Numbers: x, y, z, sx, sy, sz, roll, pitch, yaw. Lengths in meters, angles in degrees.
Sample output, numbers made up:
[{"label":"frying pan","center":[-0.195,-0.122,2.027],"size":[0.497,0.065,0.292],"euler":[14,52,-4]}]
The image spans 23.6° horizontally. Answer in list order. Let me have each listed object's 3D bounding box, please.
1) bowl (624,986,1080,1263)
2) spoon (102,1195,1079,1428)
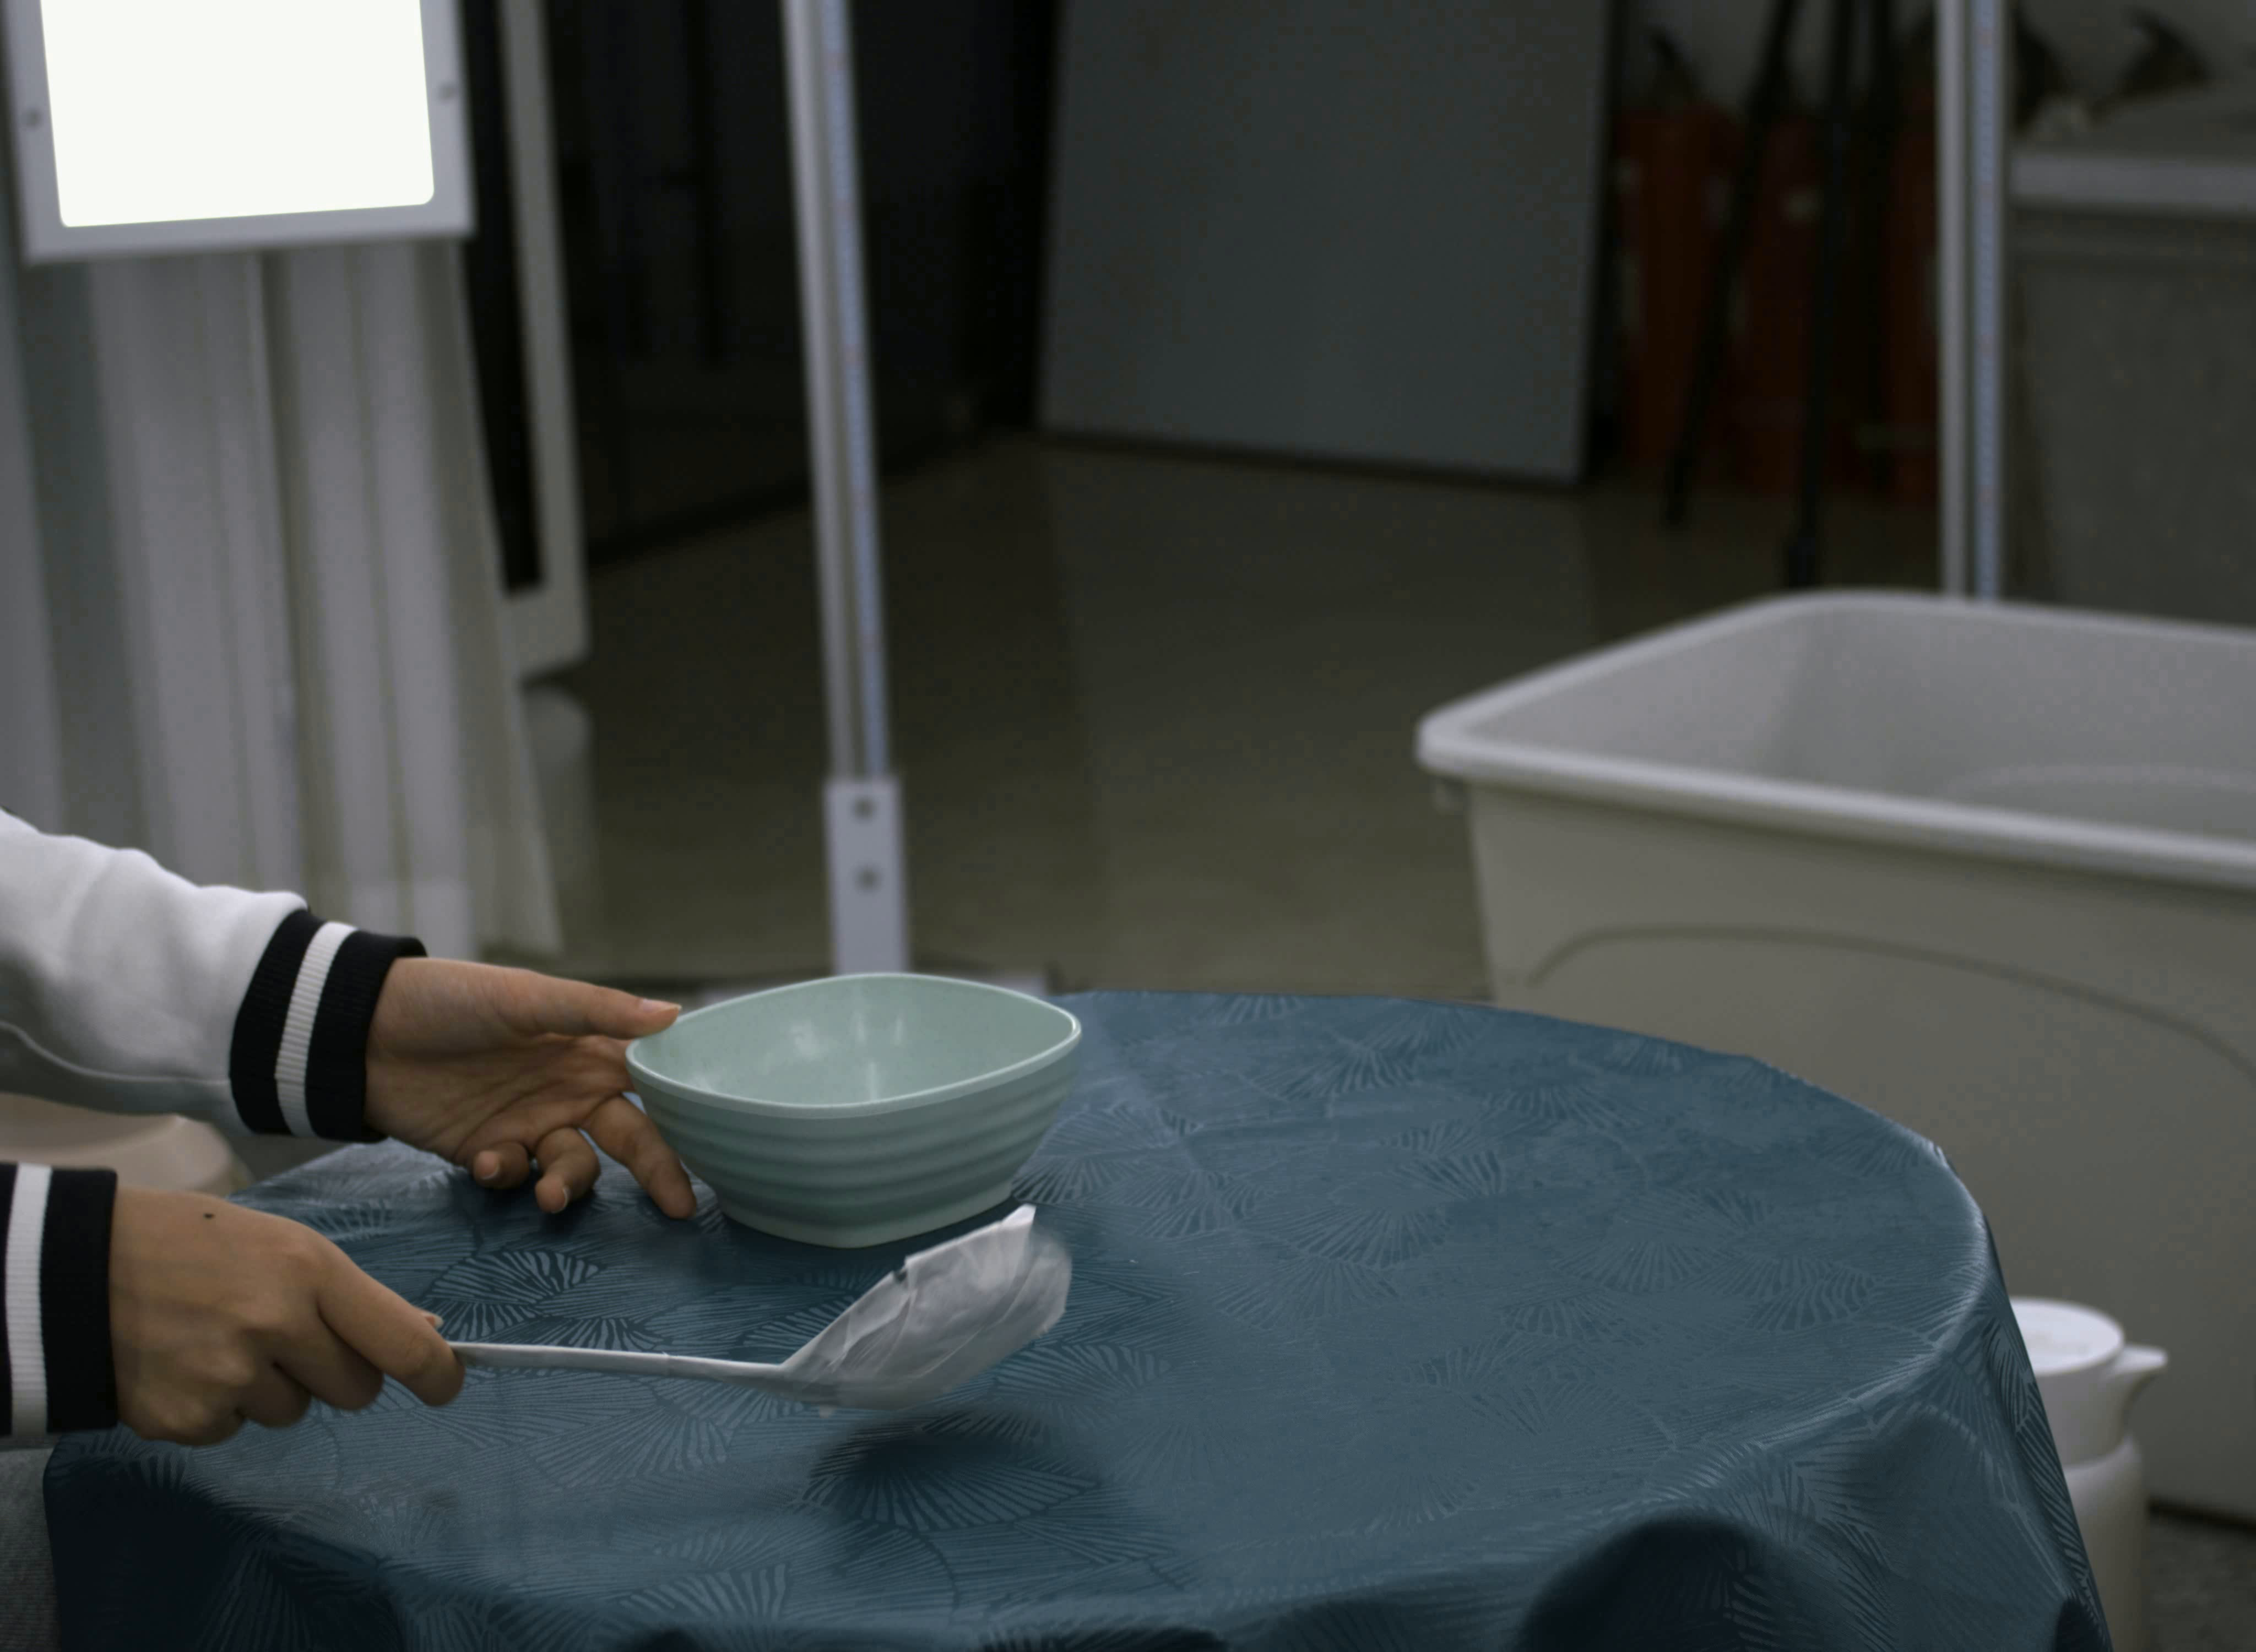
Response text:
[{"label":"bowl","center":[-0.088,0.101,1.771],"size":[0.149,0.059,0.152],"euler":[-4,13,0]},{"label":"spoon","center":[-0.152,0.136,1.548],"size":[0.274,0.101,0.060],"euler":[3,53,4]}]
